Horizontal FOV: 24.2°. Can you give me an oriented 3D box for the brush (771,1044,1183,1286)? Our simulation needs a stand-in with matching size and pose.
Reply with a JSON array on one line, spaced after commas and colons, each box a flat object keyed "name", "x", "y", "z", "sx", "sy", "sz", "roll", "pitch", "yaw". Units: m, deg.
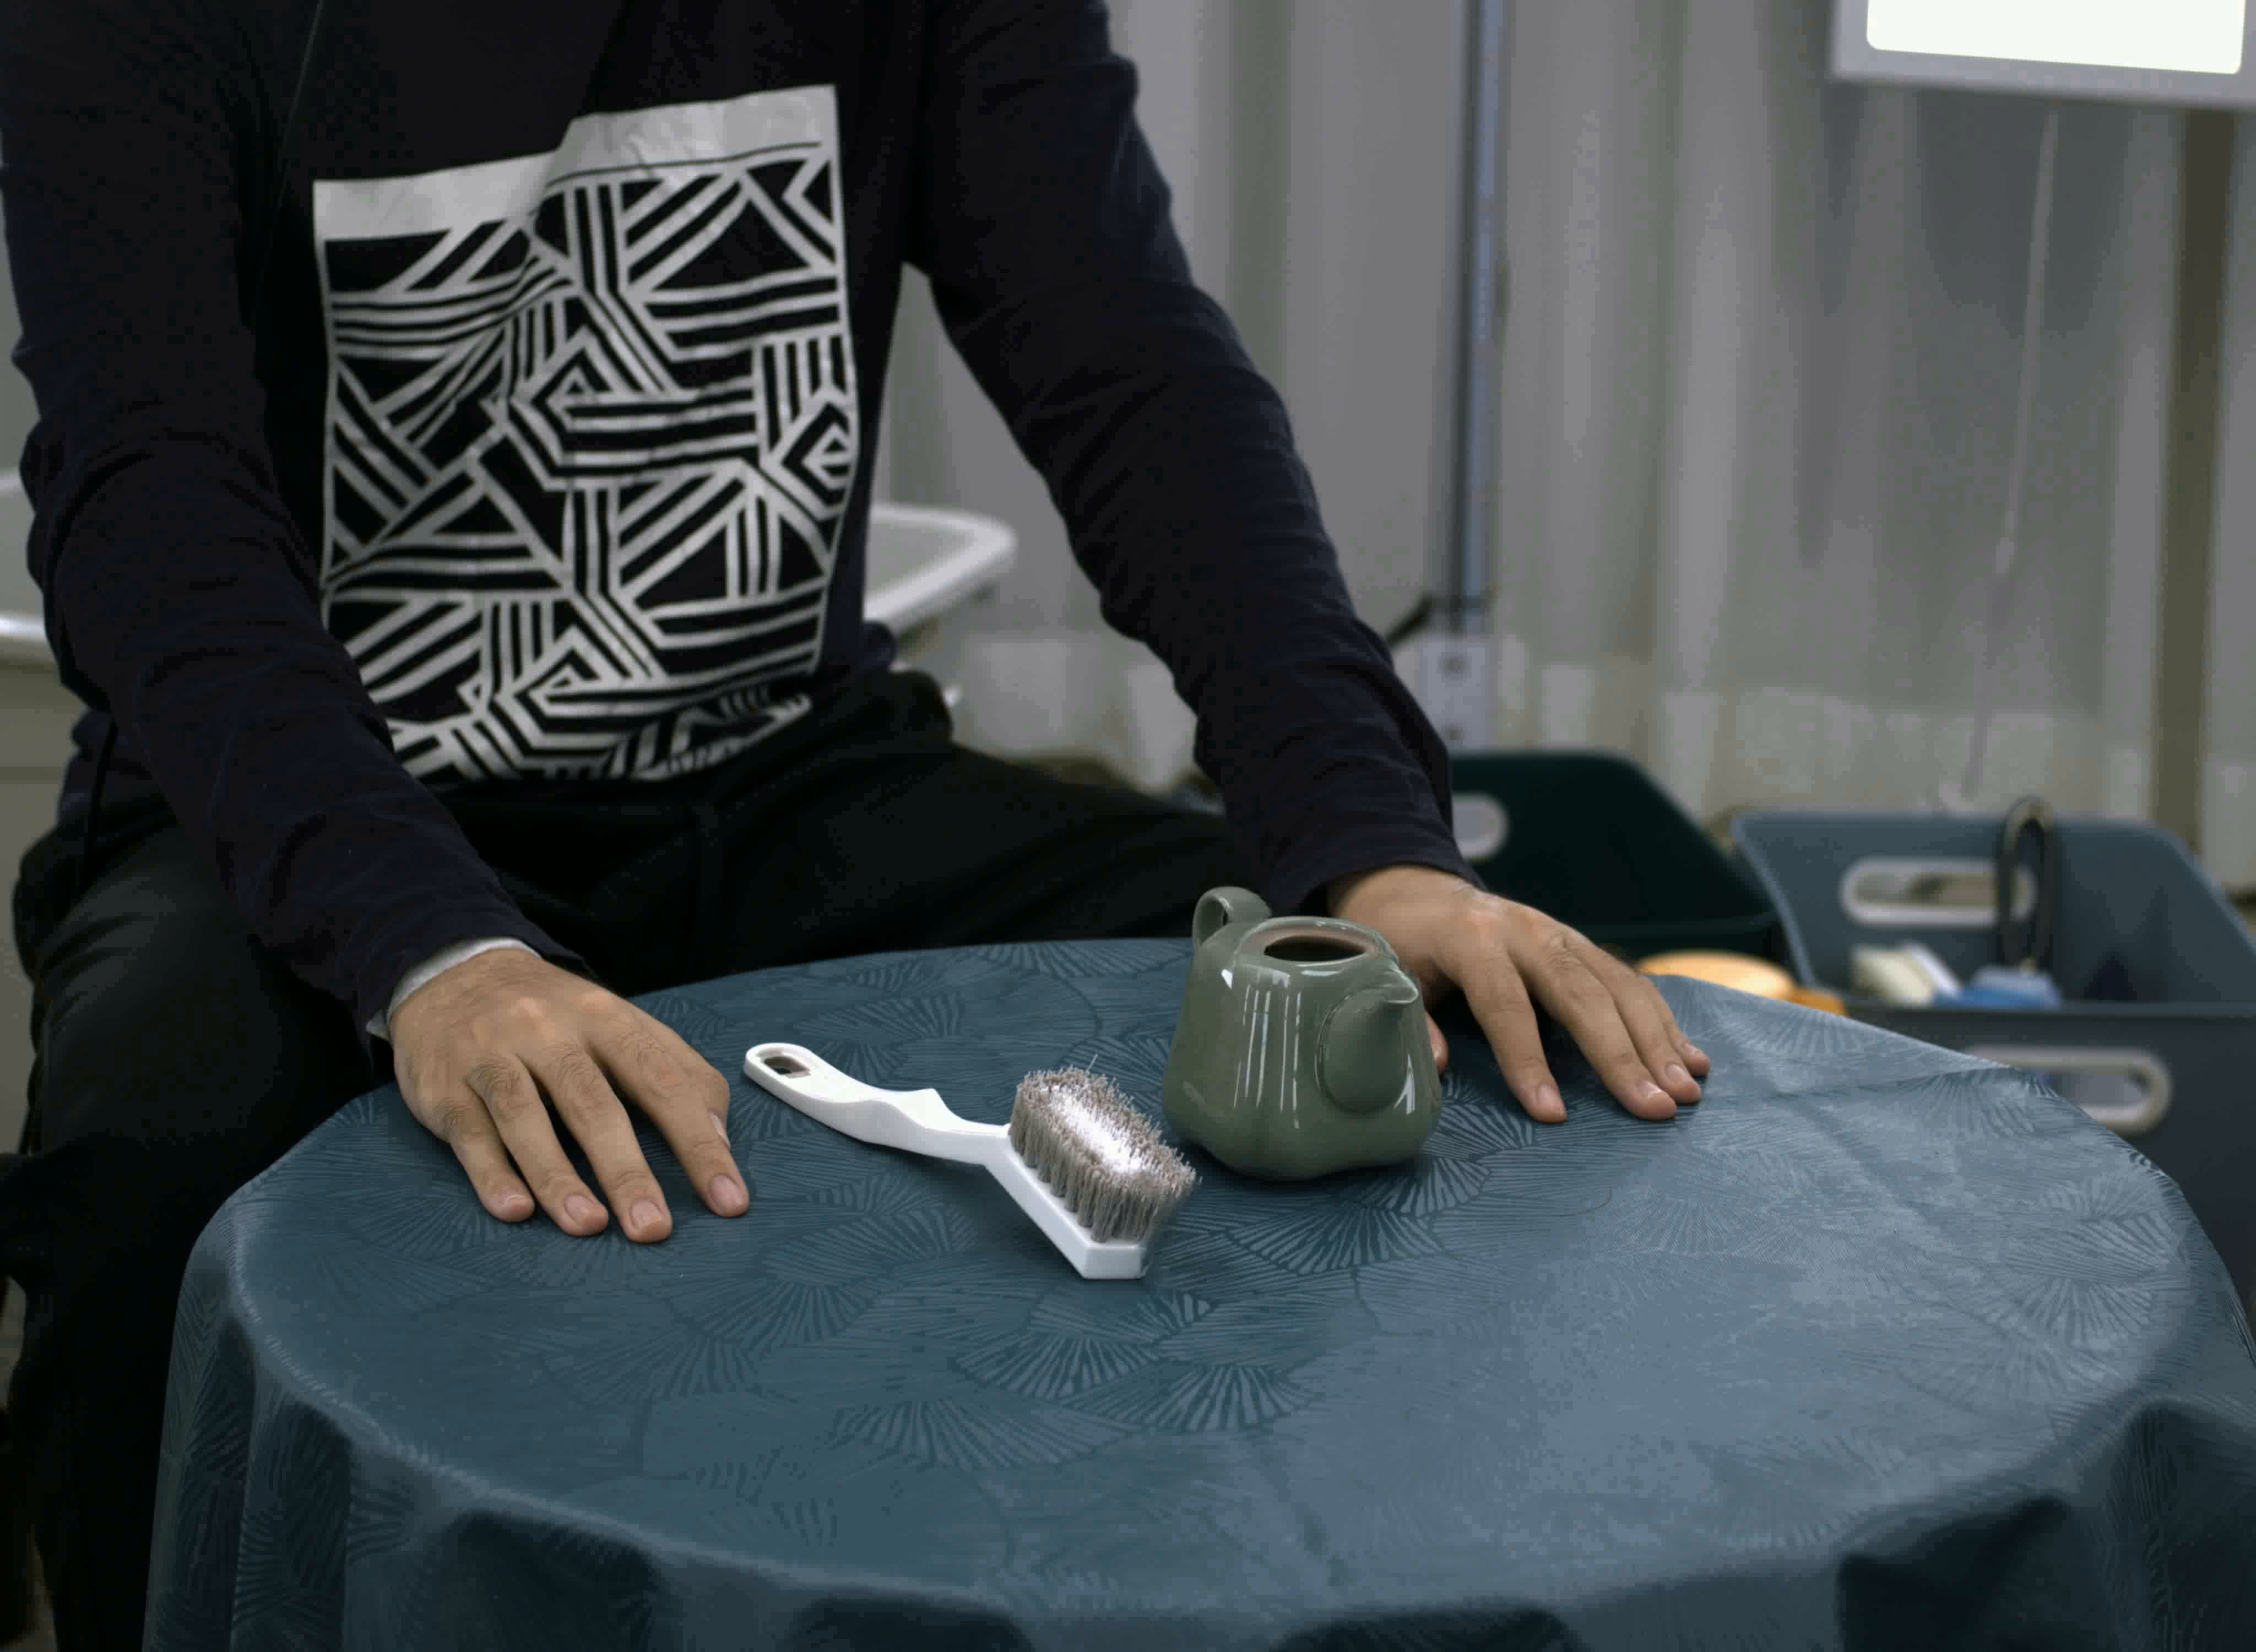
[{"name": "brush", "x": -0.053, "y": 0.085, "z": 1.635, "sx": 0.034, "sy": 0.051, "sz": 0.240, "roll": -13, "pitch": 20, "yaw": -27}]

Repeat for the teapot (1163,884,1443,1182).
[{"name": "teapot", "x": 0.055, "y": 0.067, "z": 1.655, "sx": 0.080, "sy": 0.076, "sz": 0.131, "roll": -8, "pitch": 17, "yaw": -28}]
